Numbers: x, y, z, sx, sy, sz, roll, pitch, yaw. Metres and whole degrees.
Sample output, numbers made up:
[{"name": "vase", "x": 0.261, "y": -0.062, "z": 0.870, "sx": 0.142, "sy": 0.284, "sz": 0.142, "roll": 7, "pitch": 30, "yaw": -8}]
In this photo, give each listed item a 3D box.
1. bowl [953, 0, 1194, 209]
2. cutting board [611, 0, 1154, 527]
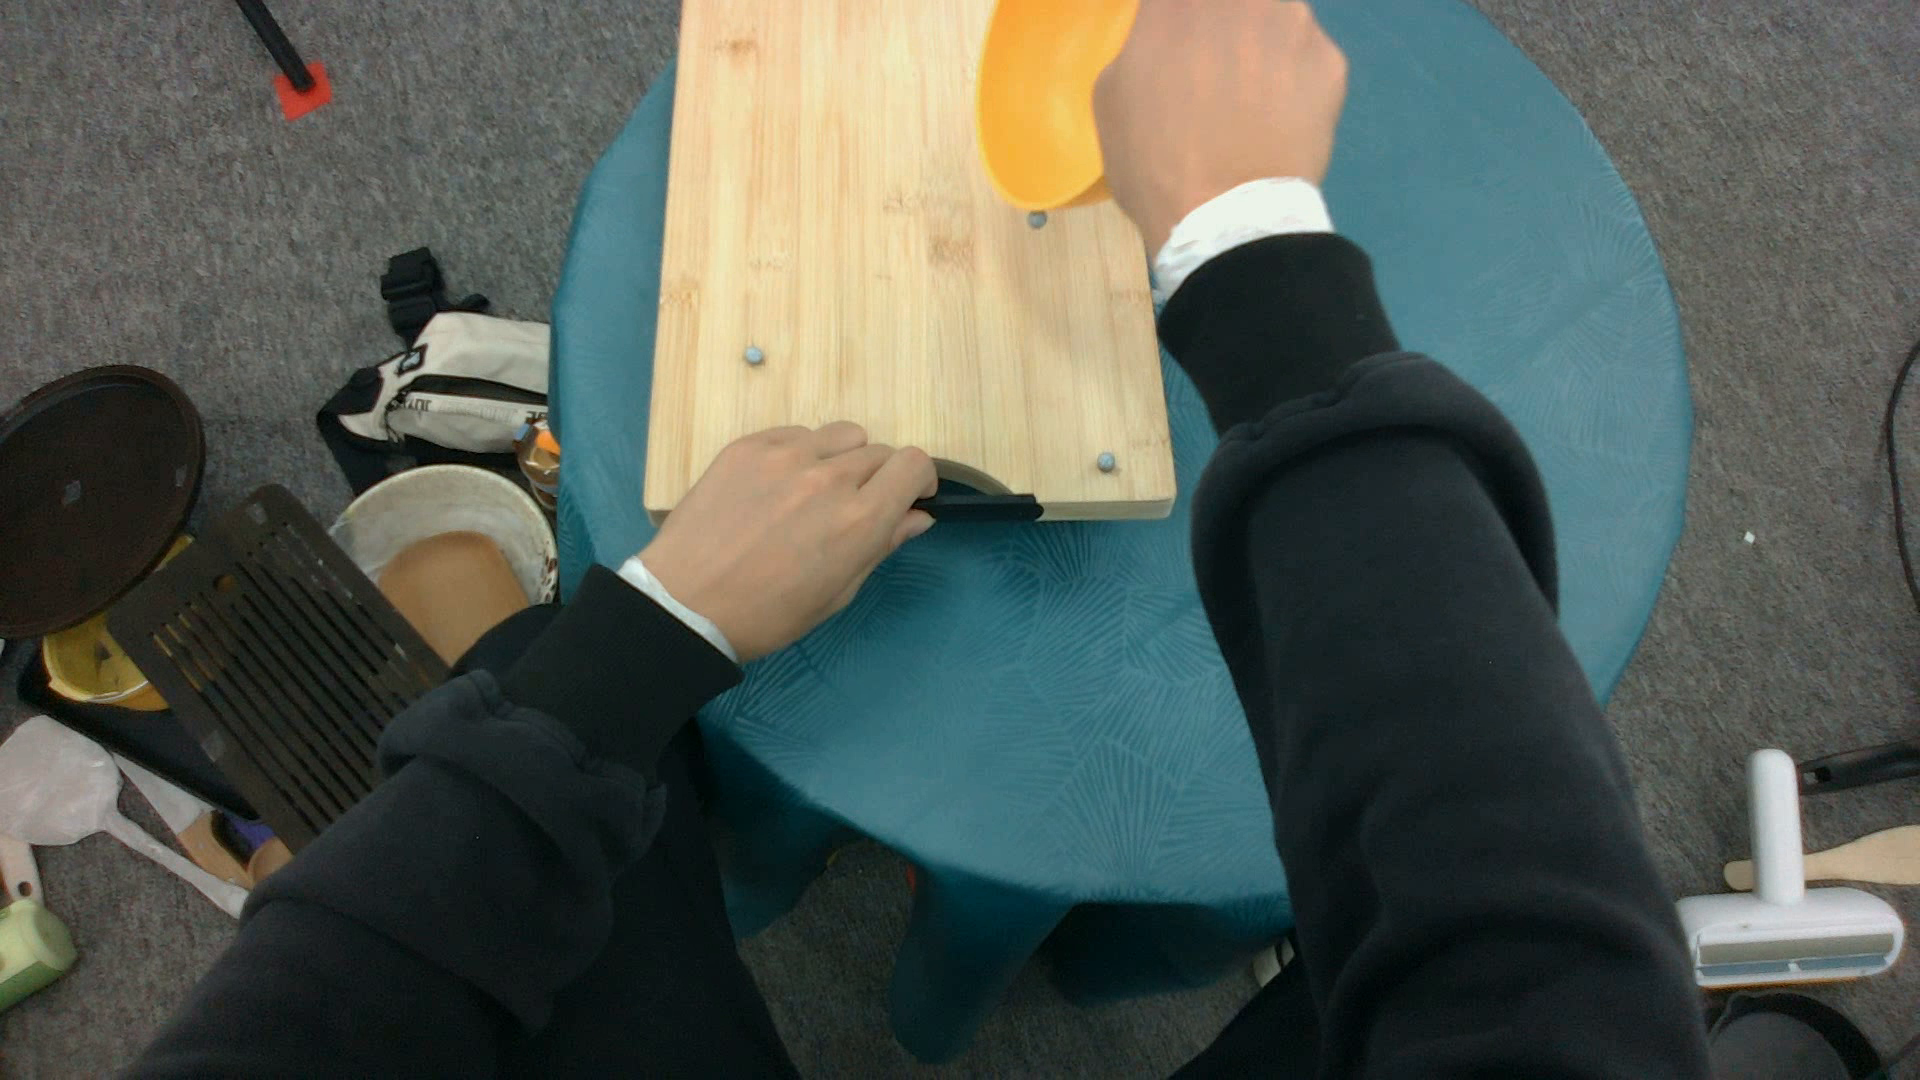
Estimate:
[{"name": "bowl", "x": 0.059, "y": -0.215, "z": 0.610, "sx": 0.060, "sy": 0.144, "sz": 0.145, "roll": 3, "pitch": 67, "yaw": -33}, {"name": "cutting board", "x": -0.041, "y": -0.162, "z": 0.701, "sx": 0.251, "sy": 0.023, "sz": 0.350, "roll": -2, "pitch": 61, "yaw": -5}]
